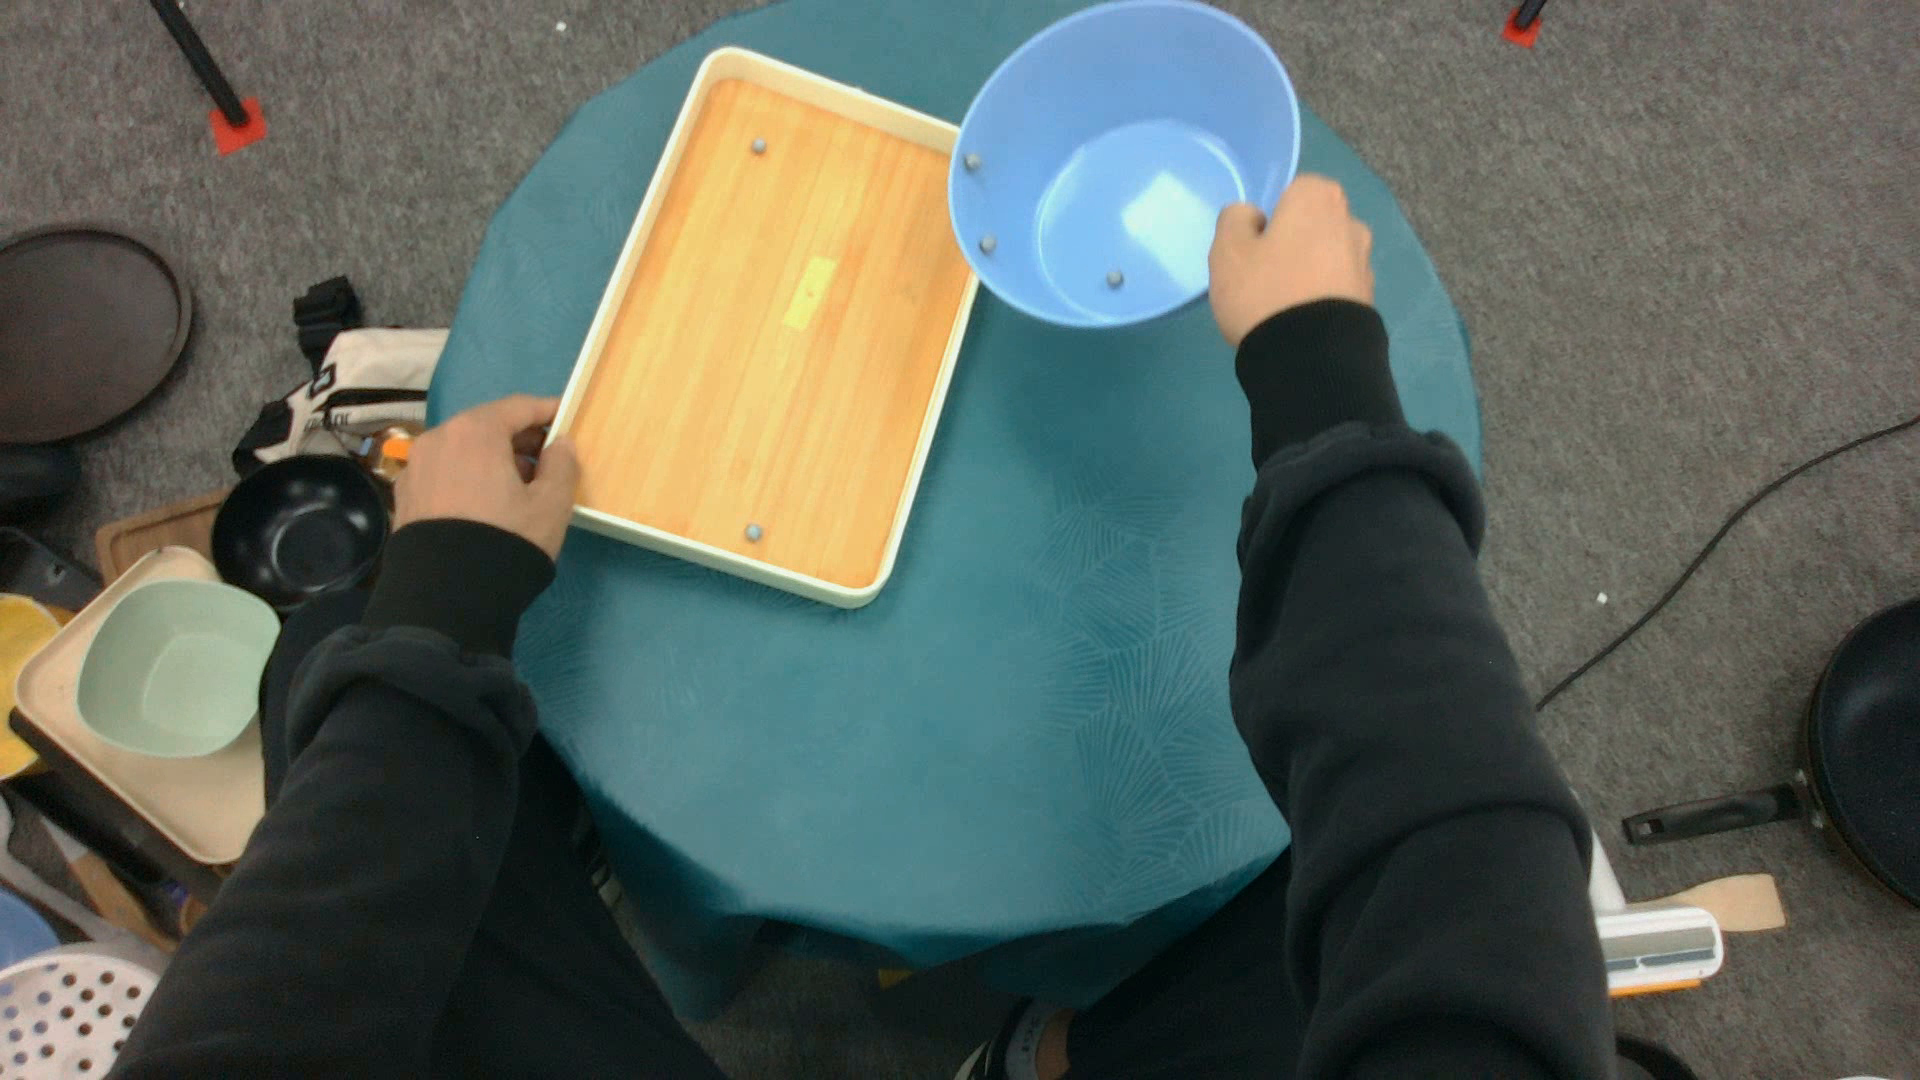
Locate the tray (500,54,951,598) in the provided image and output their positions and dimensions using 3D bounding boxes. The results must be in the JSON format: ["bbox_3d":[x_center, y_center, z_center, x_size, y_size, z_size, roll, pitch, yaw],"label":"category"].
[{"bbox_3d":[-0.116,-0.128,0.775,0.191,0.027,0.301,17,67,-5],"label":"tray"}]

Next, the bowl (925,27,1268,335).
[{"bbox_3d":[0.075,-0.175,0.723,0.176,0.070,0.176,-6,70,16],"label":"bowl"}]
